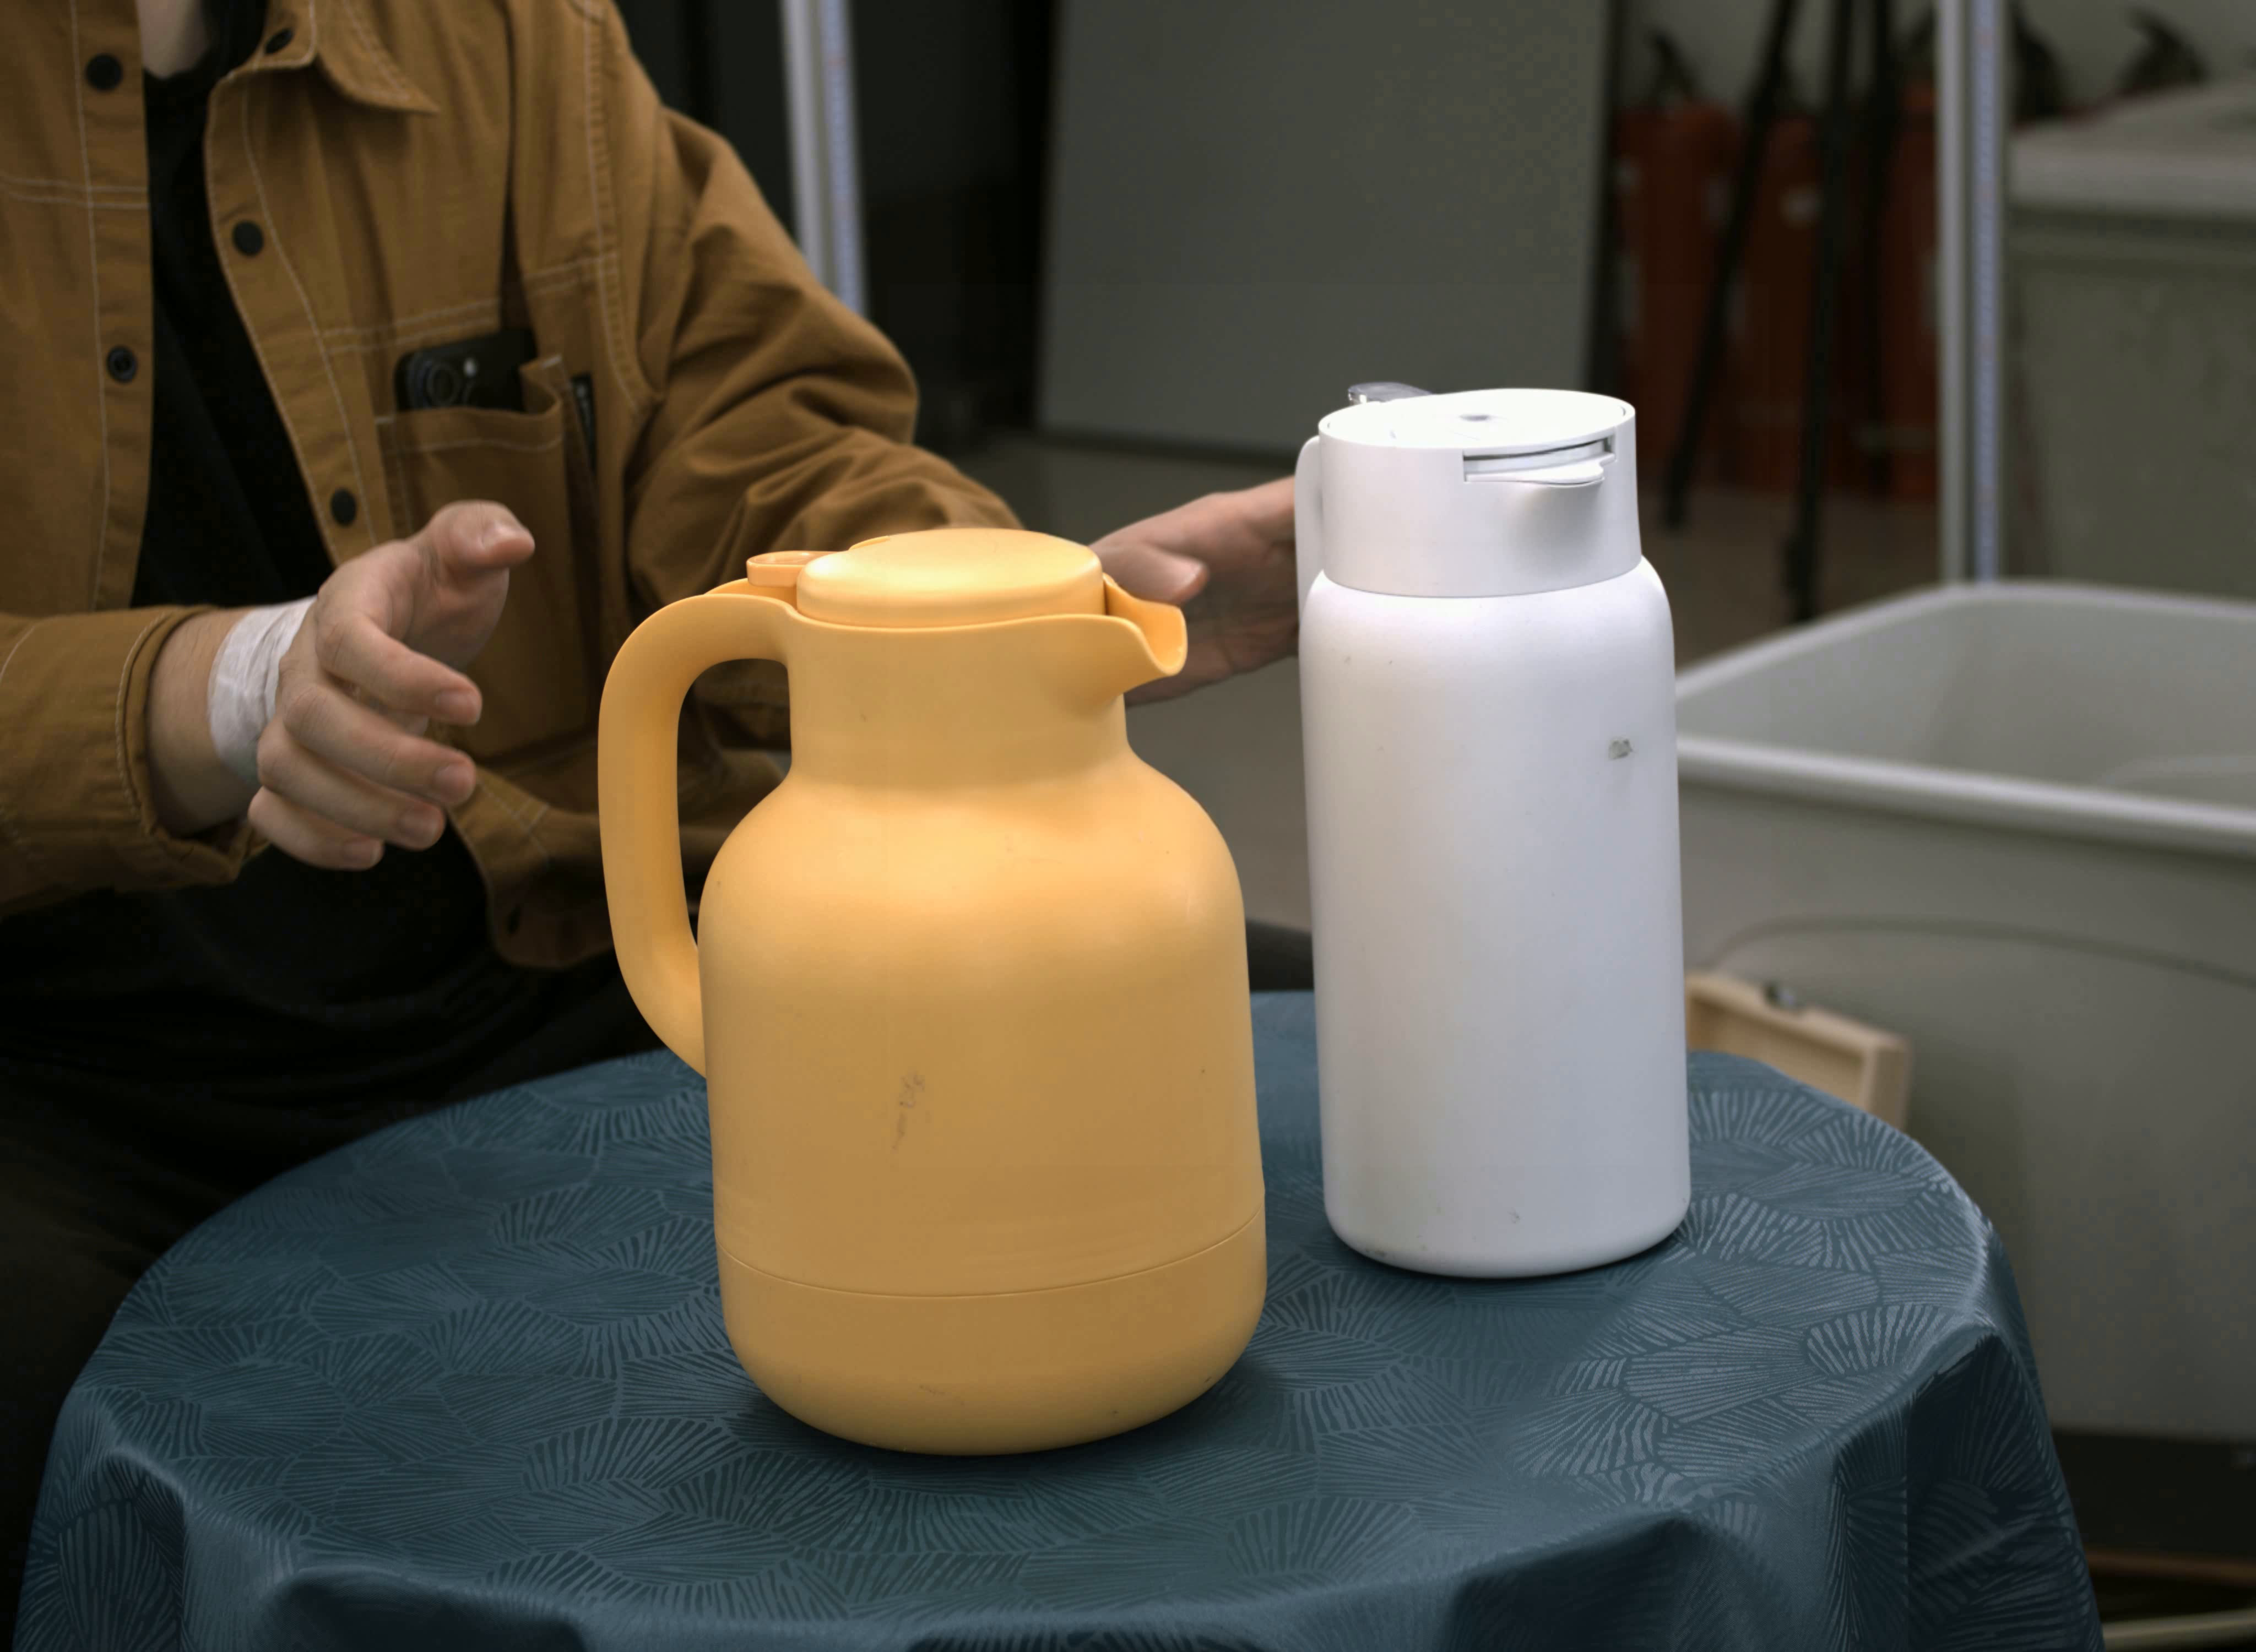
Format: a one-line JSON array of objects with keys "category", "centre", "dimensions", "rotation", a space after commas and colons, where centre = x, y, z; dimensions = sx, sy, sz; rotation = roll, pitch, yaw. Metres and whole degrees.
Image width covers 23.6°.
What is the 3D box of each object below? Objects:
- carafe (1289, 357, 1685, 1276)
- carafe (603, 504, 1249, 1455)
[{"category": "carafe", "centre": [0.103, -0.006, 1.694], "dimensions": [0.121, 0.272, 0.174], "rotation": [-12, 15, -22]}, {"category": "carafe", "centre": [-0.062, 0.038, 1.576], "dimensions": [0.203, 0.263, 0.160], "rotation": [6, 14, 33]}]
